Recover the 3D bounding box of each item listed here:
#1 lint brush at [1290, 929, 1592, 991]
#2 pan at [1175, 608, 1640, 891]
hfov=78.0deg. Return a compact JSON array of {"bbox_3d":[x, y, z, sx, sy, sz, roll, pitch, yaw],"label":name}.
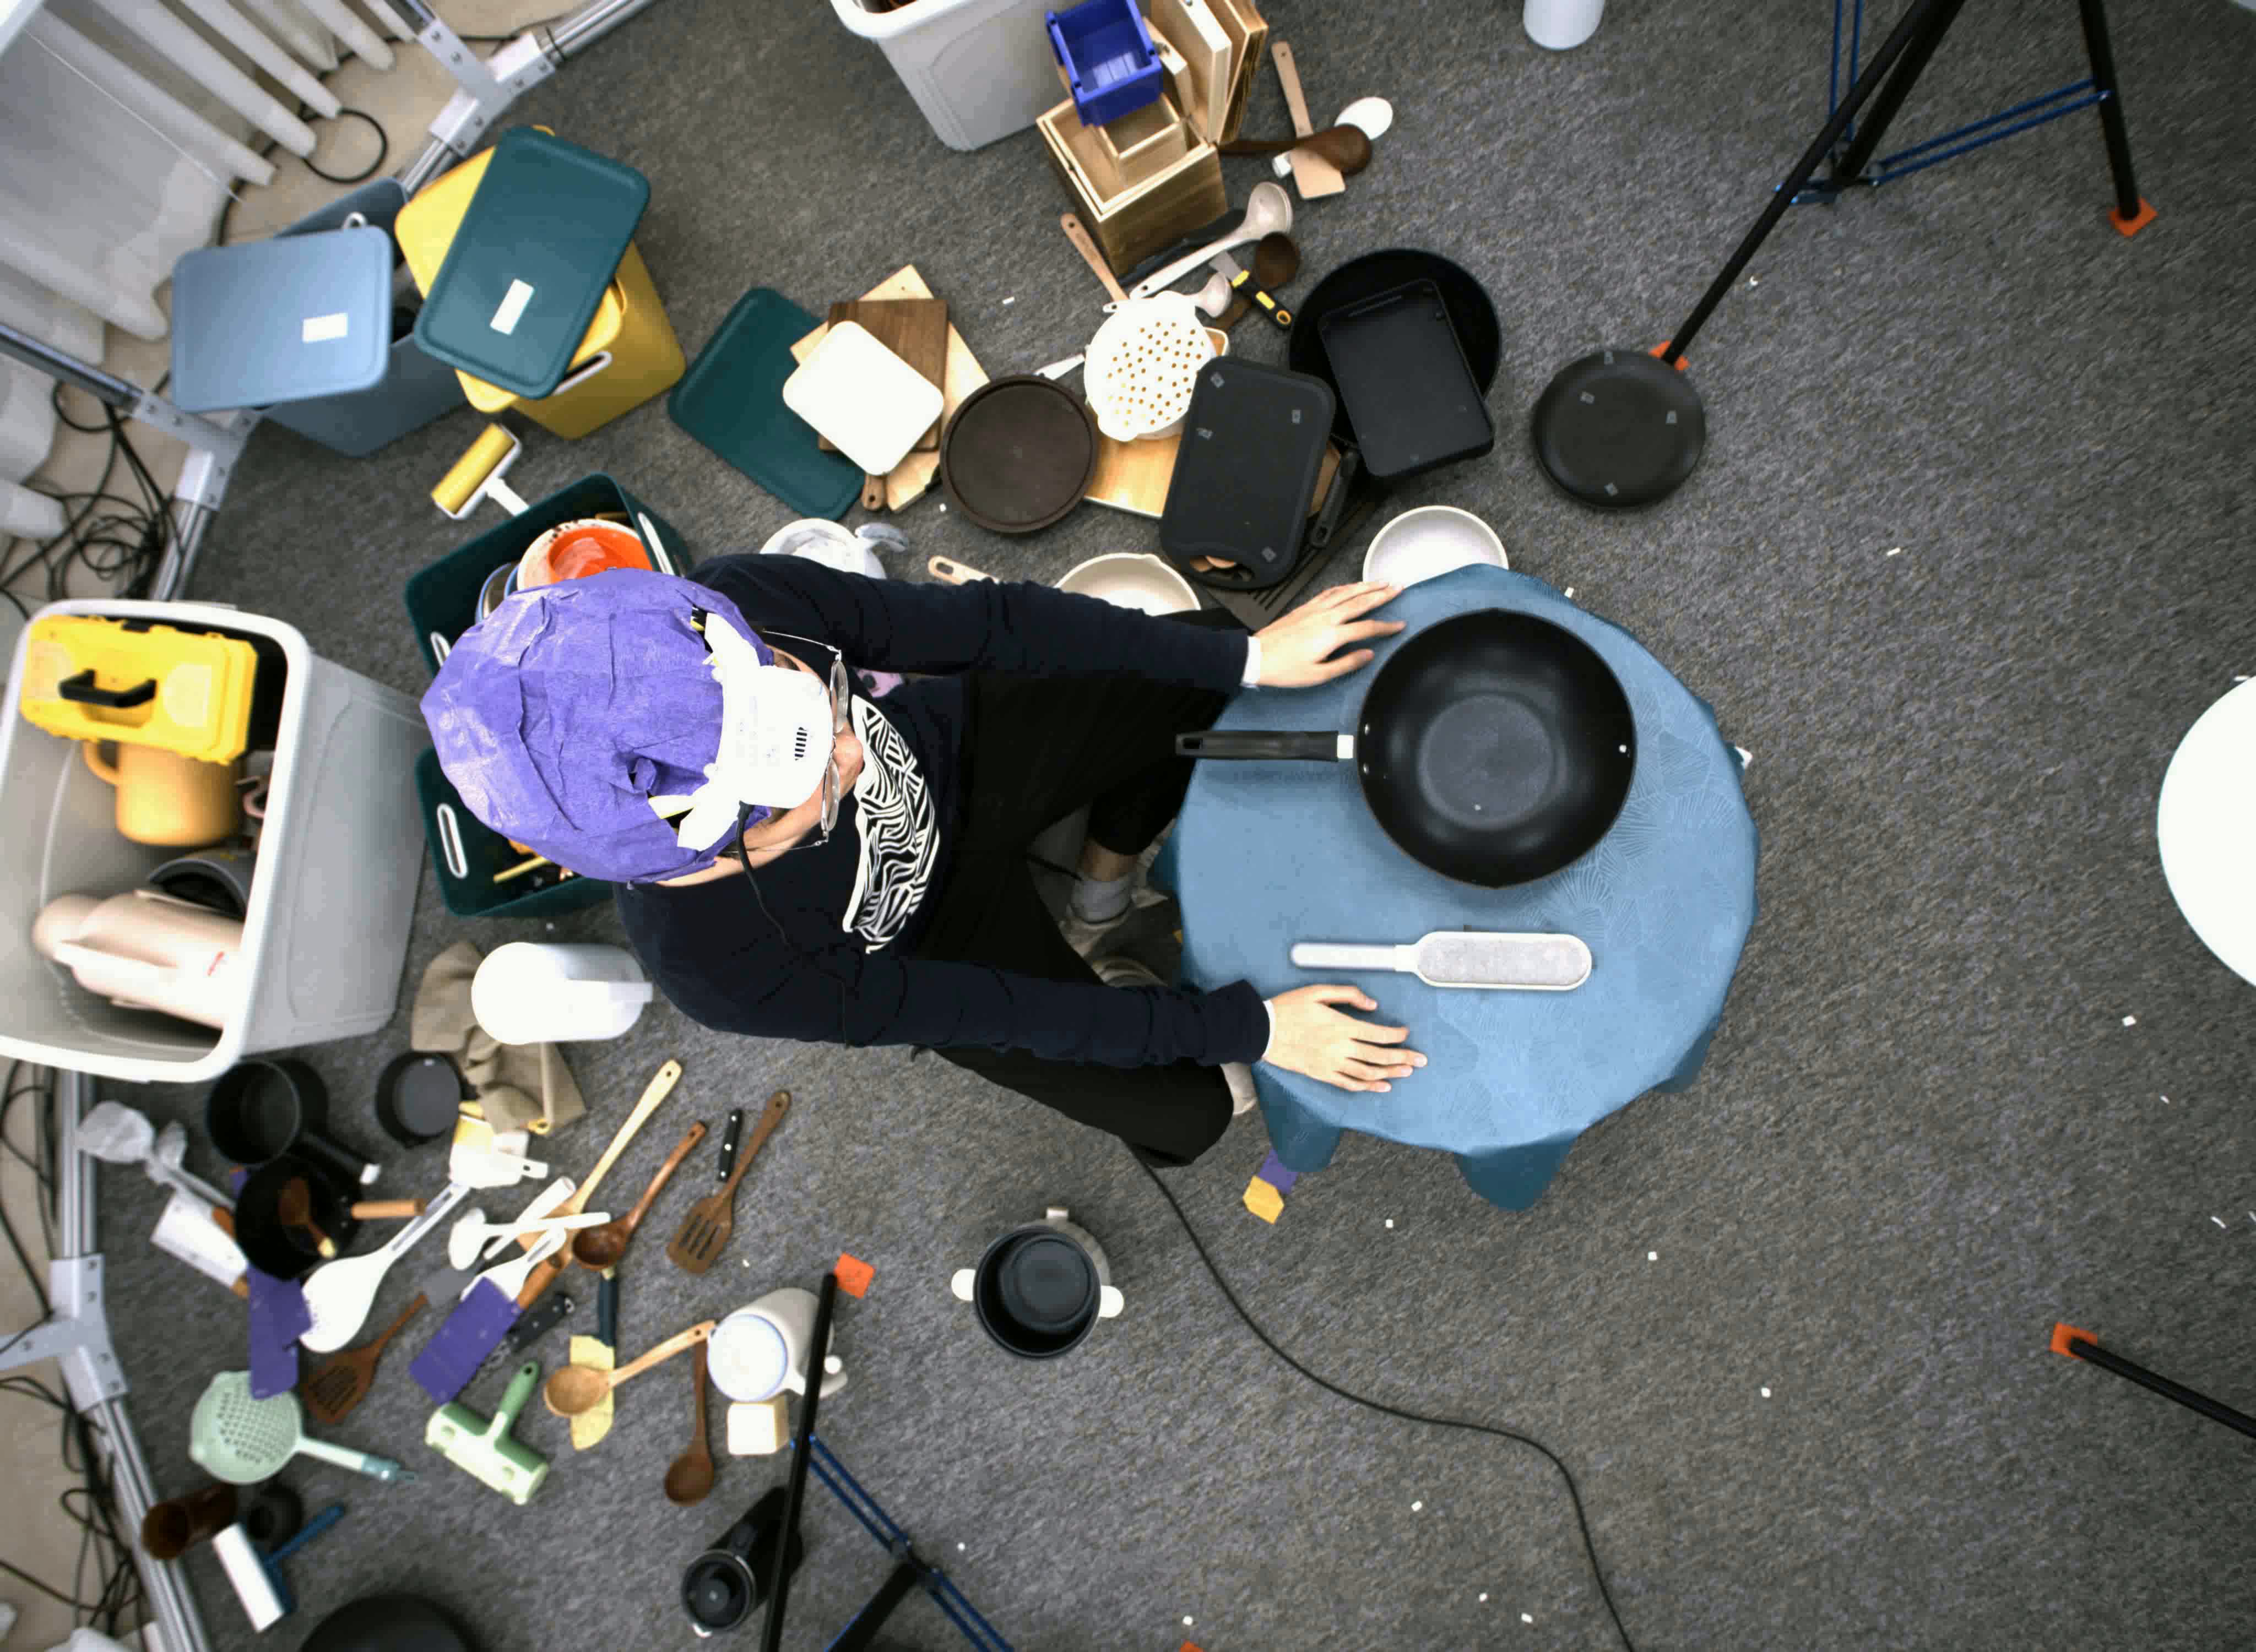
[{"bbox_3d":[0.322,0.135,1.432,0.310,0.021,0.060,1,92,11],"label":"lint brush"},{"bbox_3d":[0.283,-0.078,1.424,0.465,0.087,0.287,2,86,11],"label":"pan"}]
